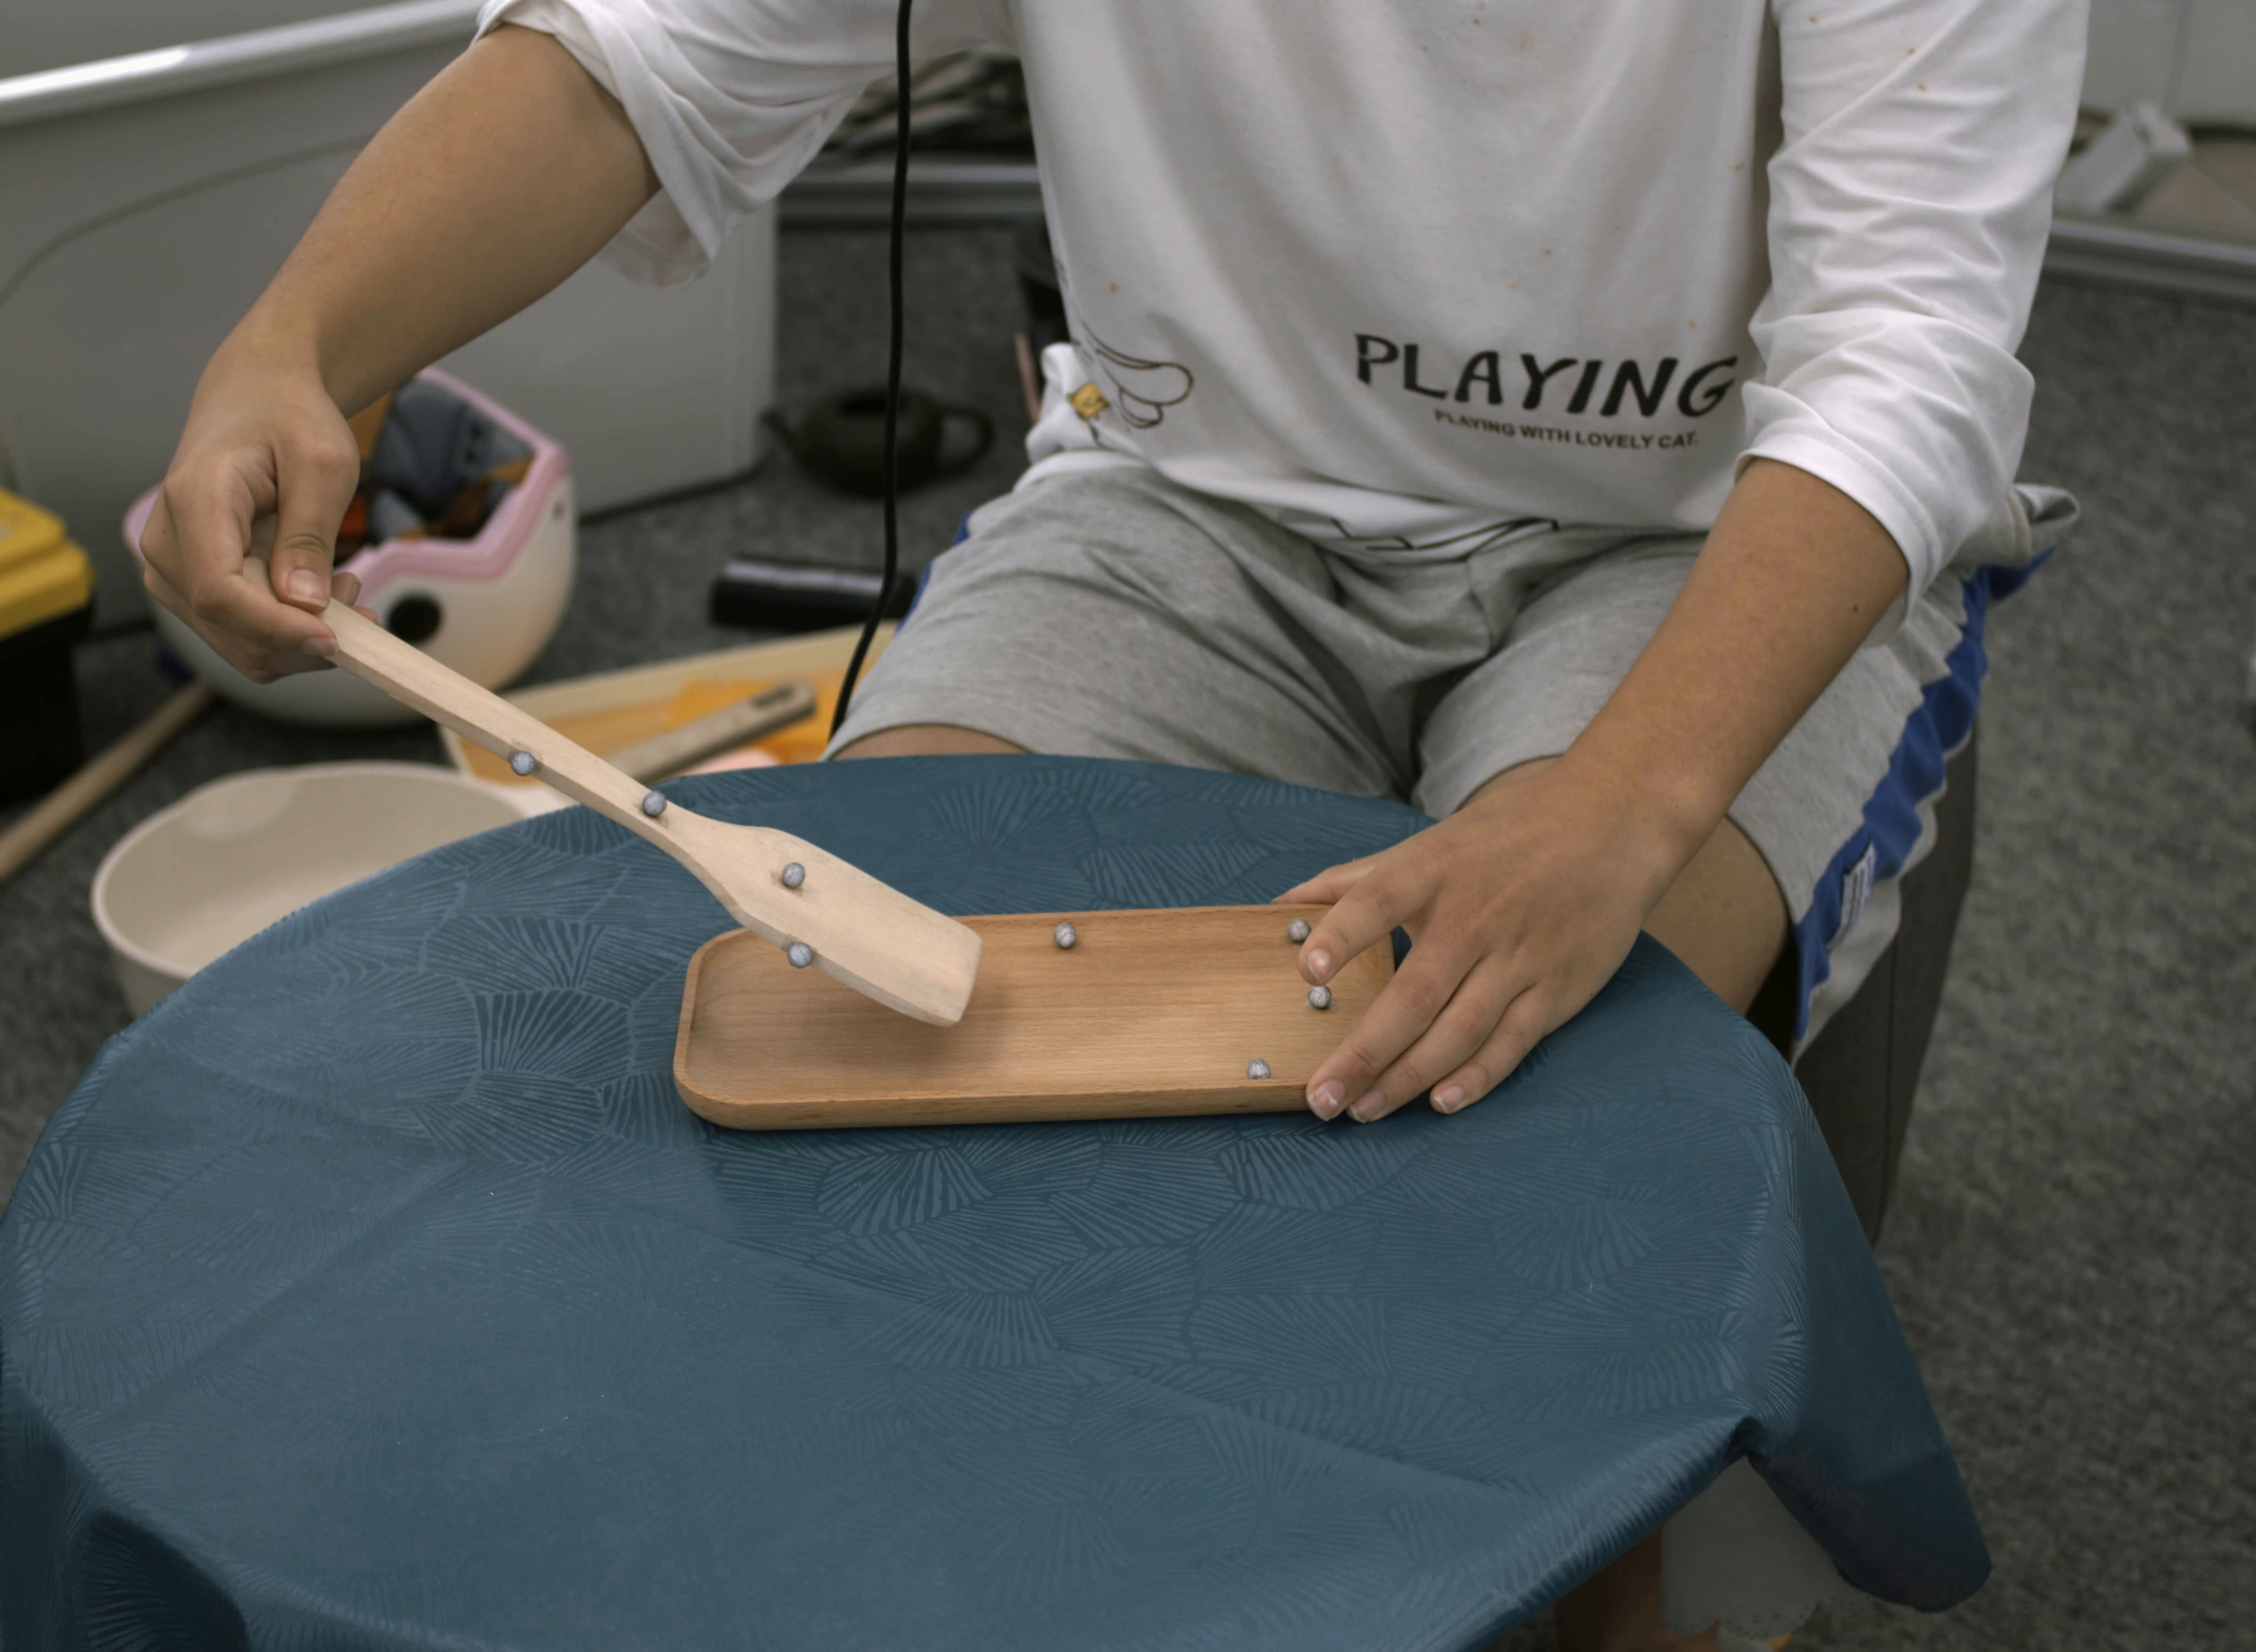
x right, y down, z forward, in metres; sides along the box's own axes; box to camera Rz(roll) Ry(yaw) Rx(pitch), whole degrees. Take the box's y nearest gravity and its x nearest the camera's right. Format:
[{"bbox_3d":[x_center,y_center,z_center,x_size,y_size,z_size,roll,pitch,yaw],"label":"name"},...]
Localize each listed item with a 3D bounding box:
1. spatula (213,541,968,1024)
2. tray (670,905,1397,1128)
[{"bbox_3d":[-0.185,-0.017,1.924,0.292,0.010,0.073,31,25,-7],"label":"spatula"},{"bbox_3d":[-0.032,0.067,1.957,0.249,0.022,0.132,-2,25,2],"label":"tray"}]
